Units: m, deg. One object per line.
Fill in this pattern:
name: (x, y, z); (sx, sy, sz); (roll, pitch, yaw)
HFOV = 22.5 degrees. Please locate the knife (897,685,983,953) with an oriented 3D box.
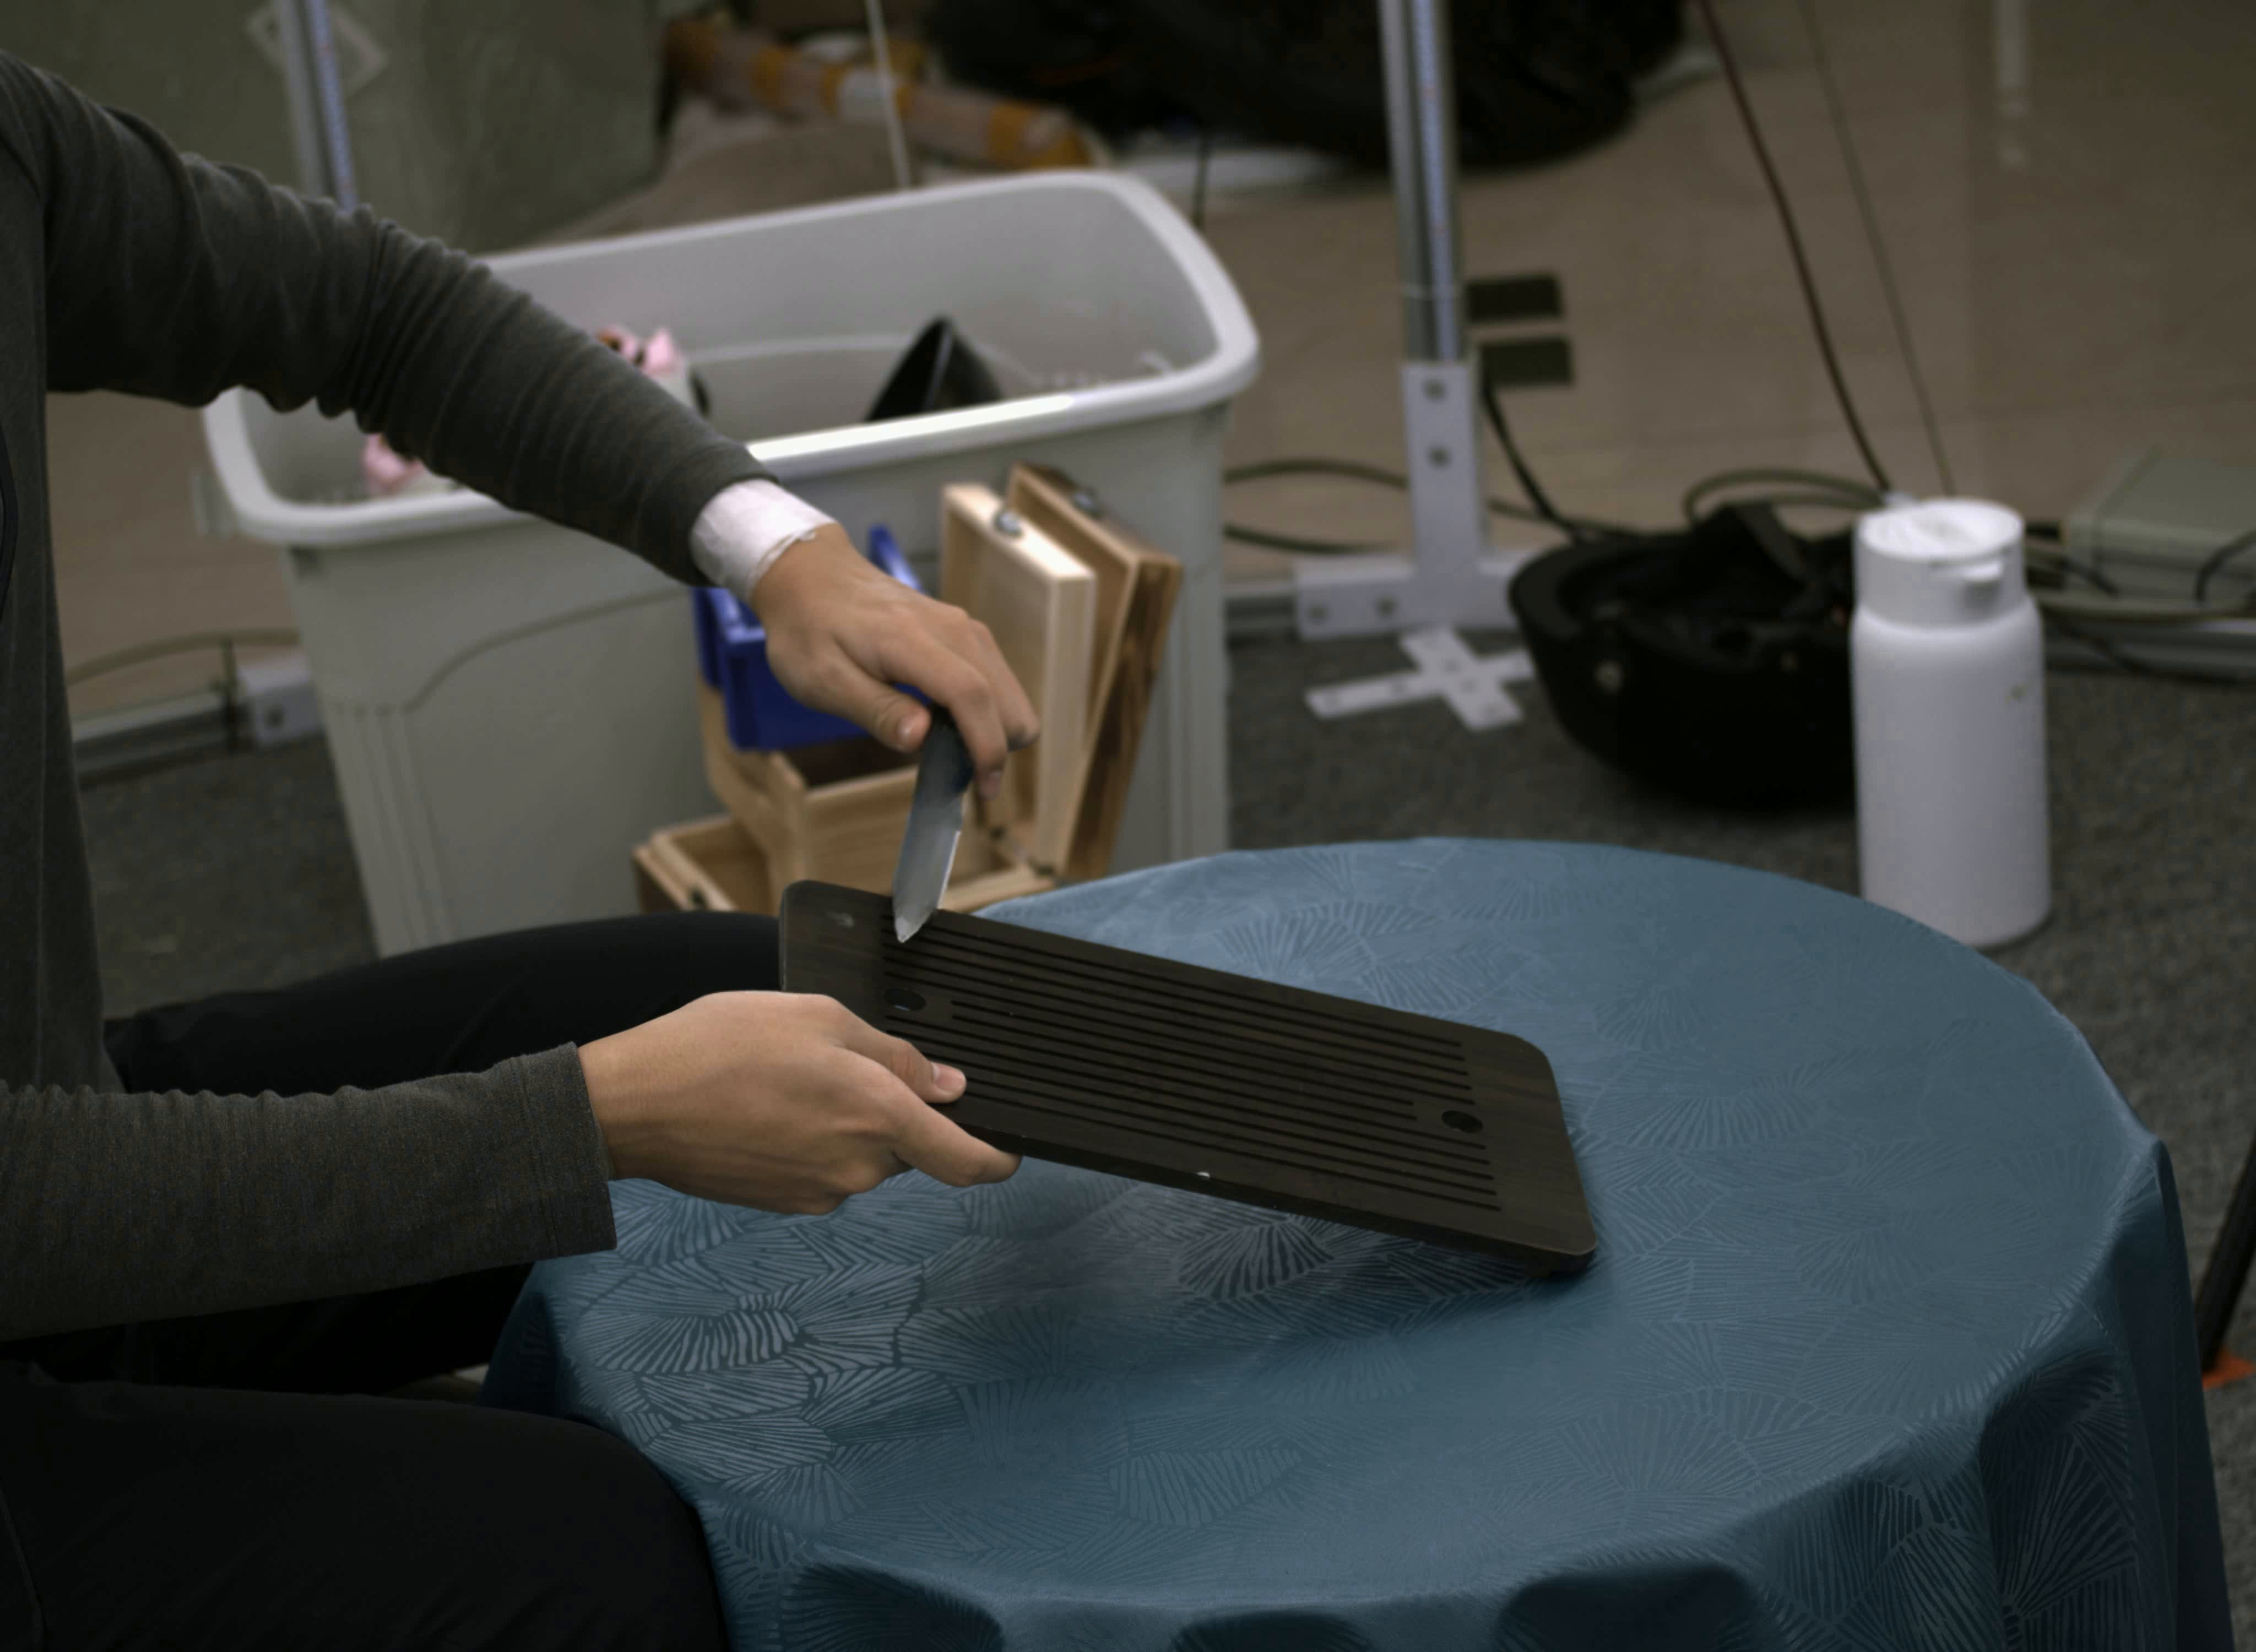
knife: (-0.074, -0.004, 2.180); (0.024, 0.016, 0.235); (25, 24, -8)

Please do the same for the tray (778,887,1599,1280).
tray: (0.019, 0.096, 2.096); (0.306, 0.019, 0.167); (13, 24, -10)
